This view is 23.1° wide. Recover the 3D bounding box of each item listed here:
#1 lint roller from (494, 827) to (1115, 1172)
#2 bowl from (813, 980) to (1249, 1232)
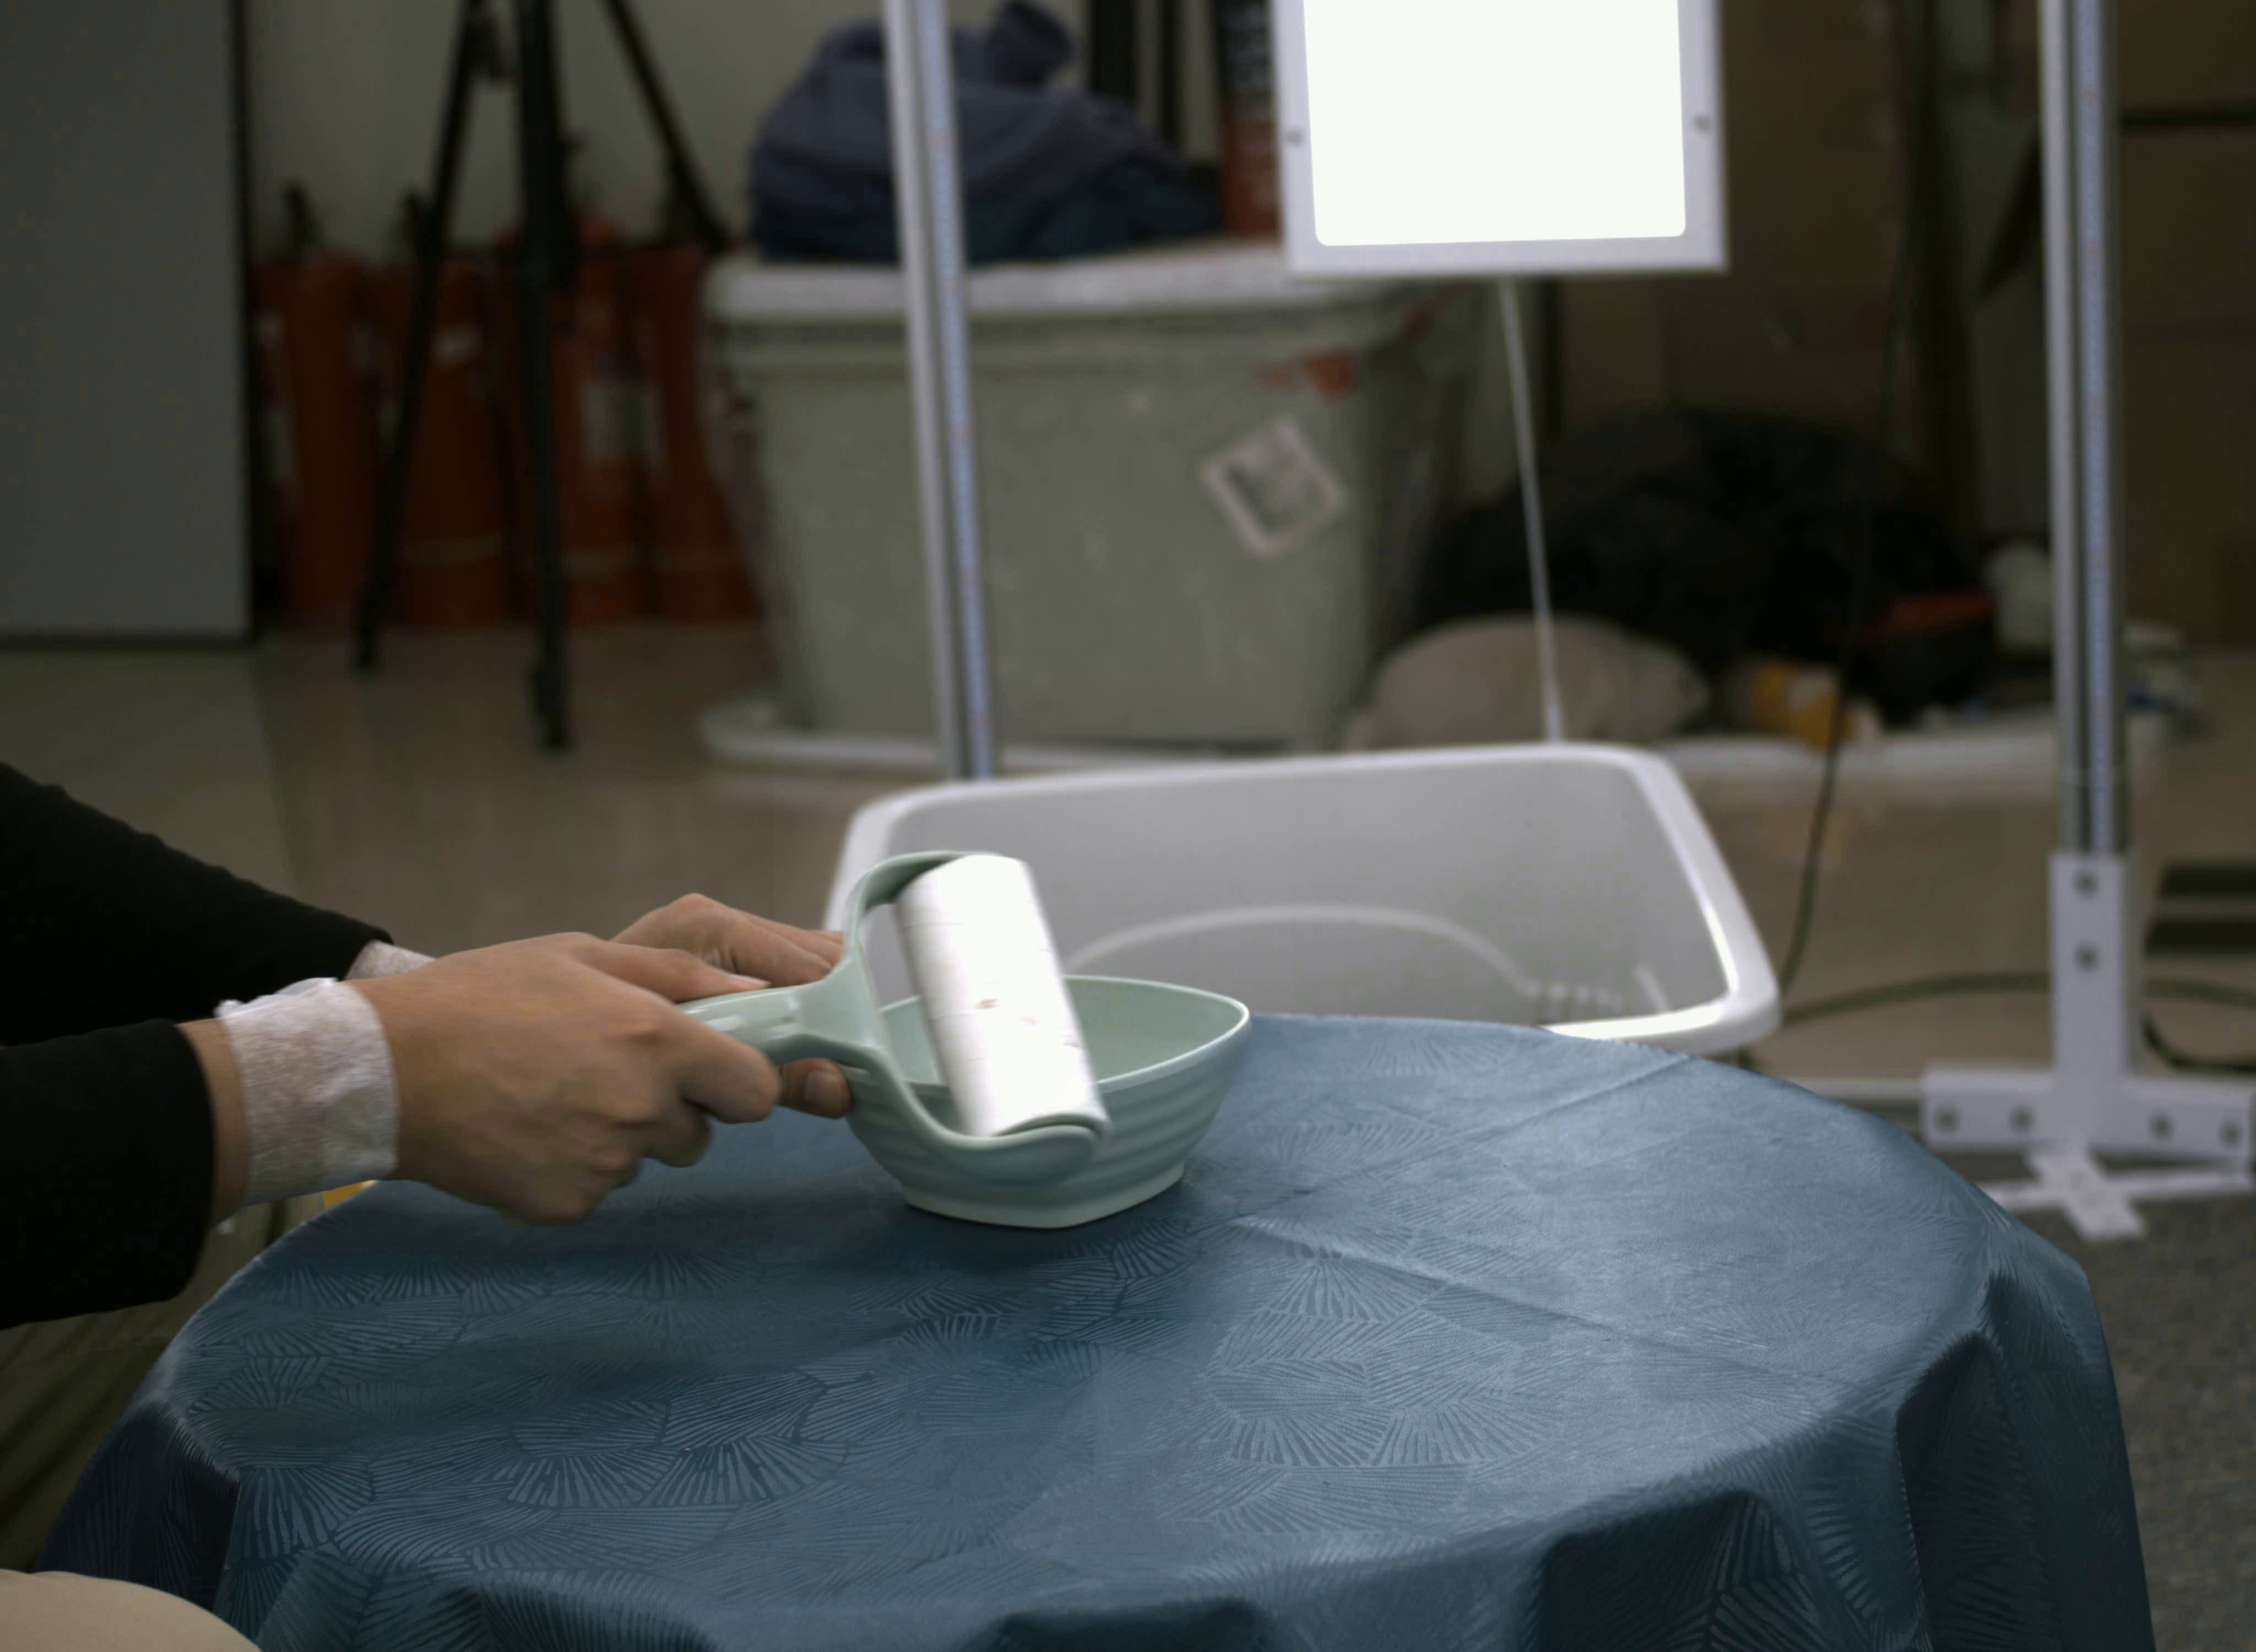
[{"bbox_3d":[-0.110,0.065,1.793,0.194,0.117,0.049,-7,-29,-18],"label":"lint roller"},{"bbox_3d":[-0.032,0.099,1.903,0.151,0.059,0.151,-3,12,-1],"label":"bowl"}]
